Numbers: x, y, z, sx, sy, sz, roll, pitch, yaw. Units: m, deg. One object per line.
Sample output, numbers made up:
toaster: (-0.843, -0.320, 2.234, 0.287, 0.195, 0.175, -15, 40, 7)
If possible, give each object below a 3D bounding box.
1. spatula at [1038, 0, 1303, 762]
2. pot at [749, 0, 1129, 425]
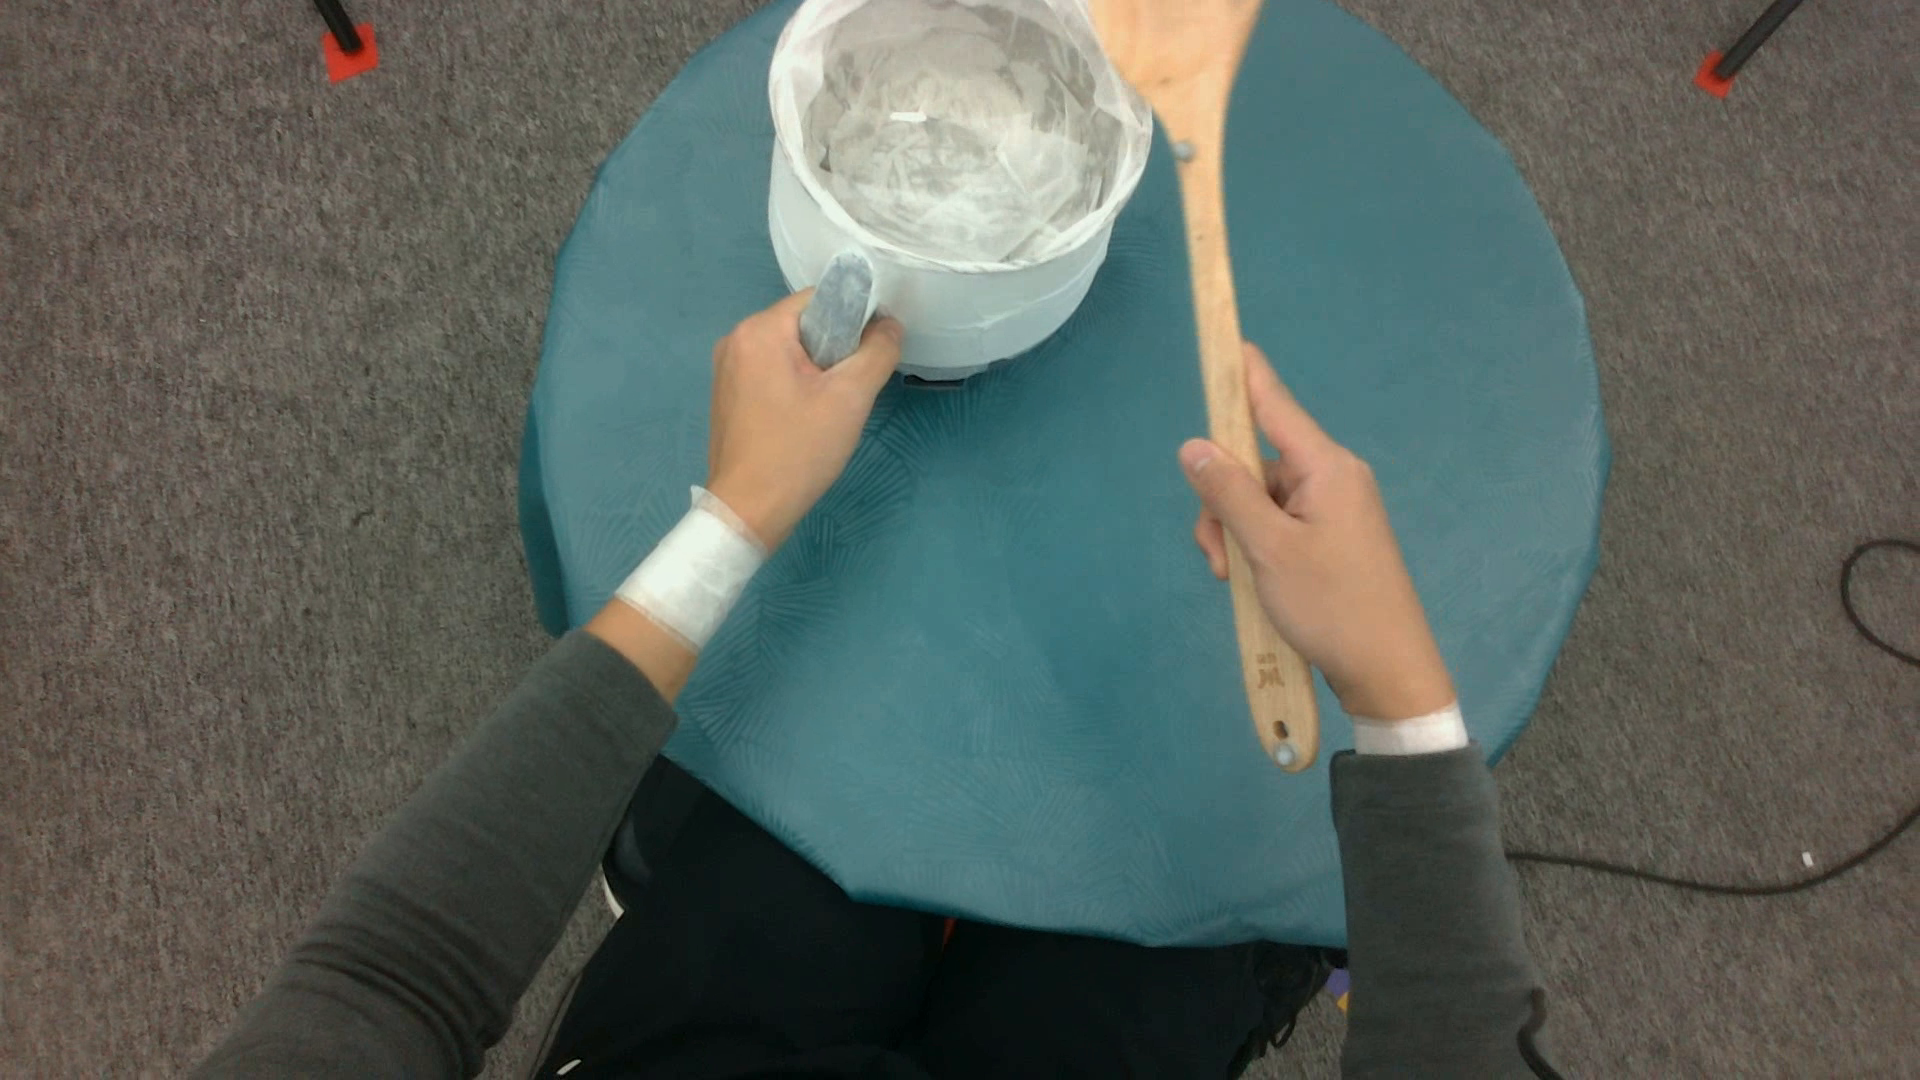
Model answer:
spatula: (0.098, -0.100, 0.581, 0.018, 0.095, 0.391, -6, 84, -43)
pot: (-0.029, -0.168, 0.681, 0.179, 0.136, 0.234, 28, 70, 1)
